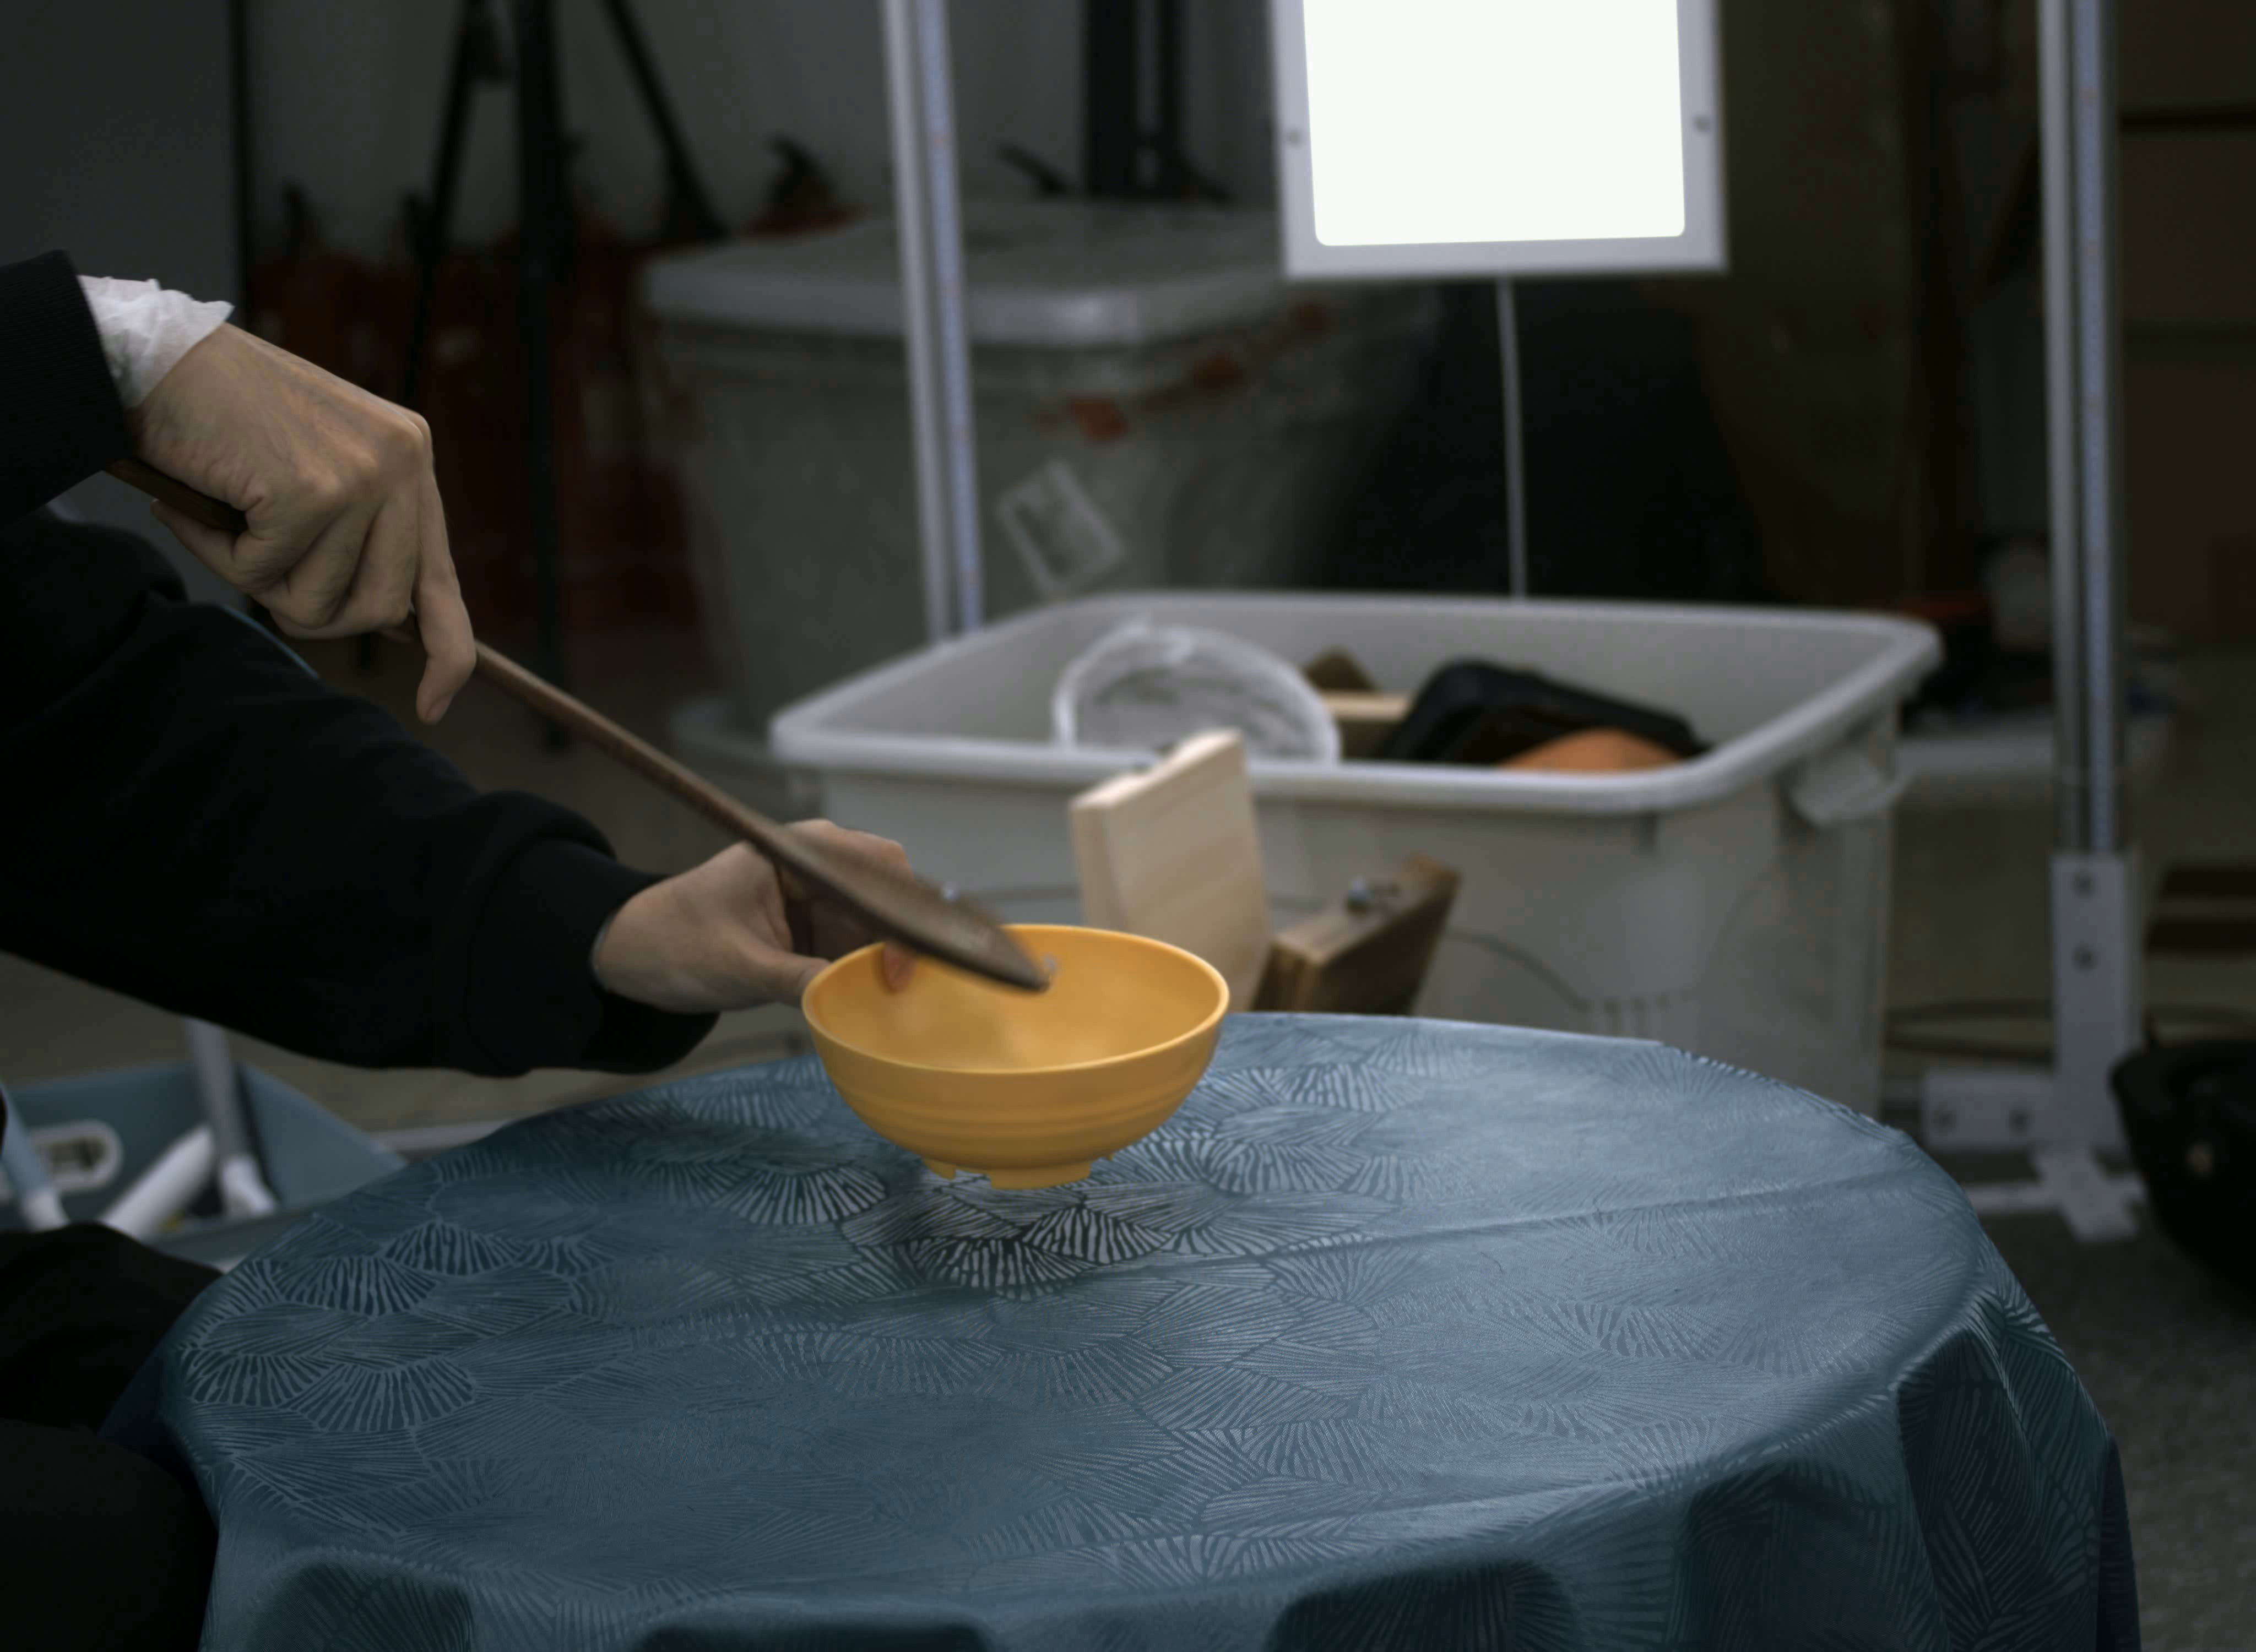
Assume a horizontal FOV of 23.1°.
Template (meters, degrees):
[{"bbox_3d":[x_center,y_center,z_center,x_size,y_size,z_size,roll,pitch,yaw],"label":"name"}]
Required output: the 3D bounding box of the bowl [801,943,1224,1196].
[{"bbox_3d":[-0.039,0.087,1.863,0.145,0.060,0.145,-2,16,-1],"label":"bowl"}]

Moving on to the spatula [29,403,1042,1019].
[{"bbox_3d":[-0.187,-0.037,1.787,0.381,0.016,0.097,33,5,-18],"label":"spatula"}]
